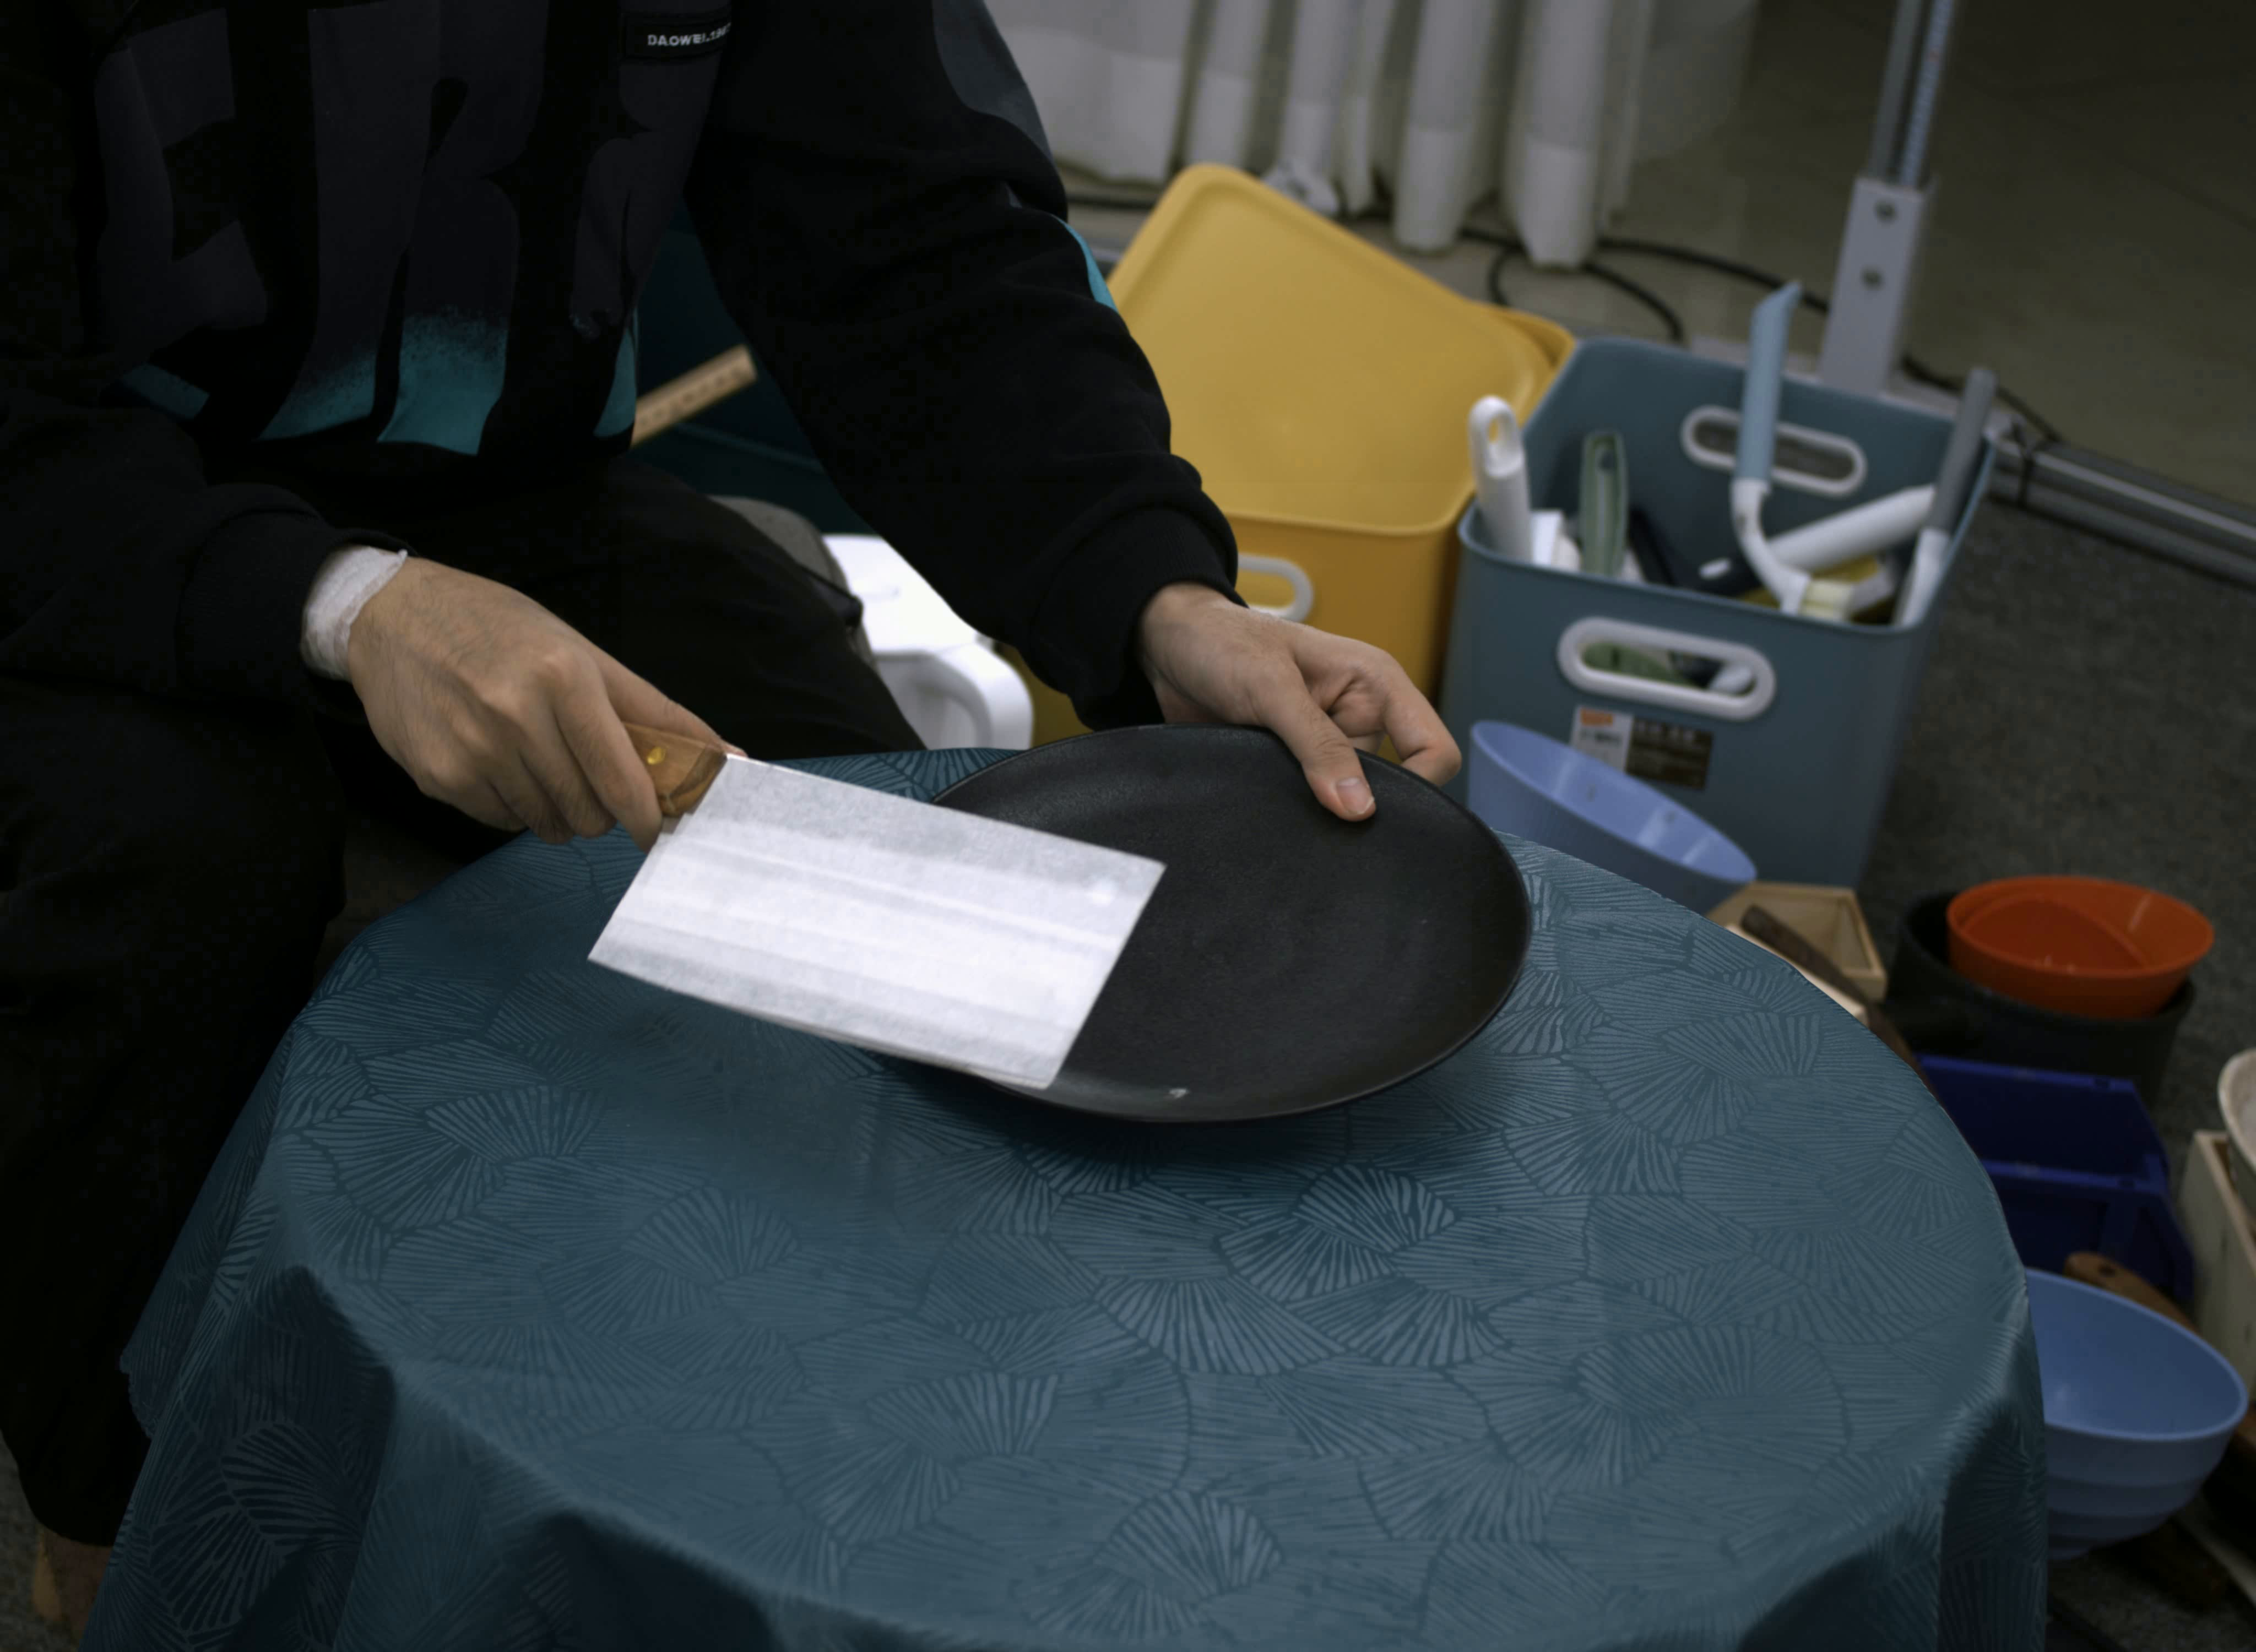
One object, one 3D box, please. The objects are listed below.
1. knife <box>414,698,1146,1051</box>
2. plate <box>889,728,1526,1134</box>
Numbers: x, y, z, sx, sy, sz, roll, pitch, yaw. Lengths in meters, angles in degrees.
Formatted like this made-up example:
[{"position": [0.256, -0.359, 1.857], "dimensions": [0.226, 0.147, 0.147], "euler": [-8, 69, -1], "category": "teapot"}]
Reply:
[{"position": [-0.134, 0.018, 1.814], "dimensions": [0.307, 0.021, 0.093], "euler": [14, 65, 32], "category": "knife"}, {"position": [0.021, 0.041, 1.909], "dimensions": [0.244, 0.023, 0.246], "euler": [-1, 35, 0], "category": "plate"}]
